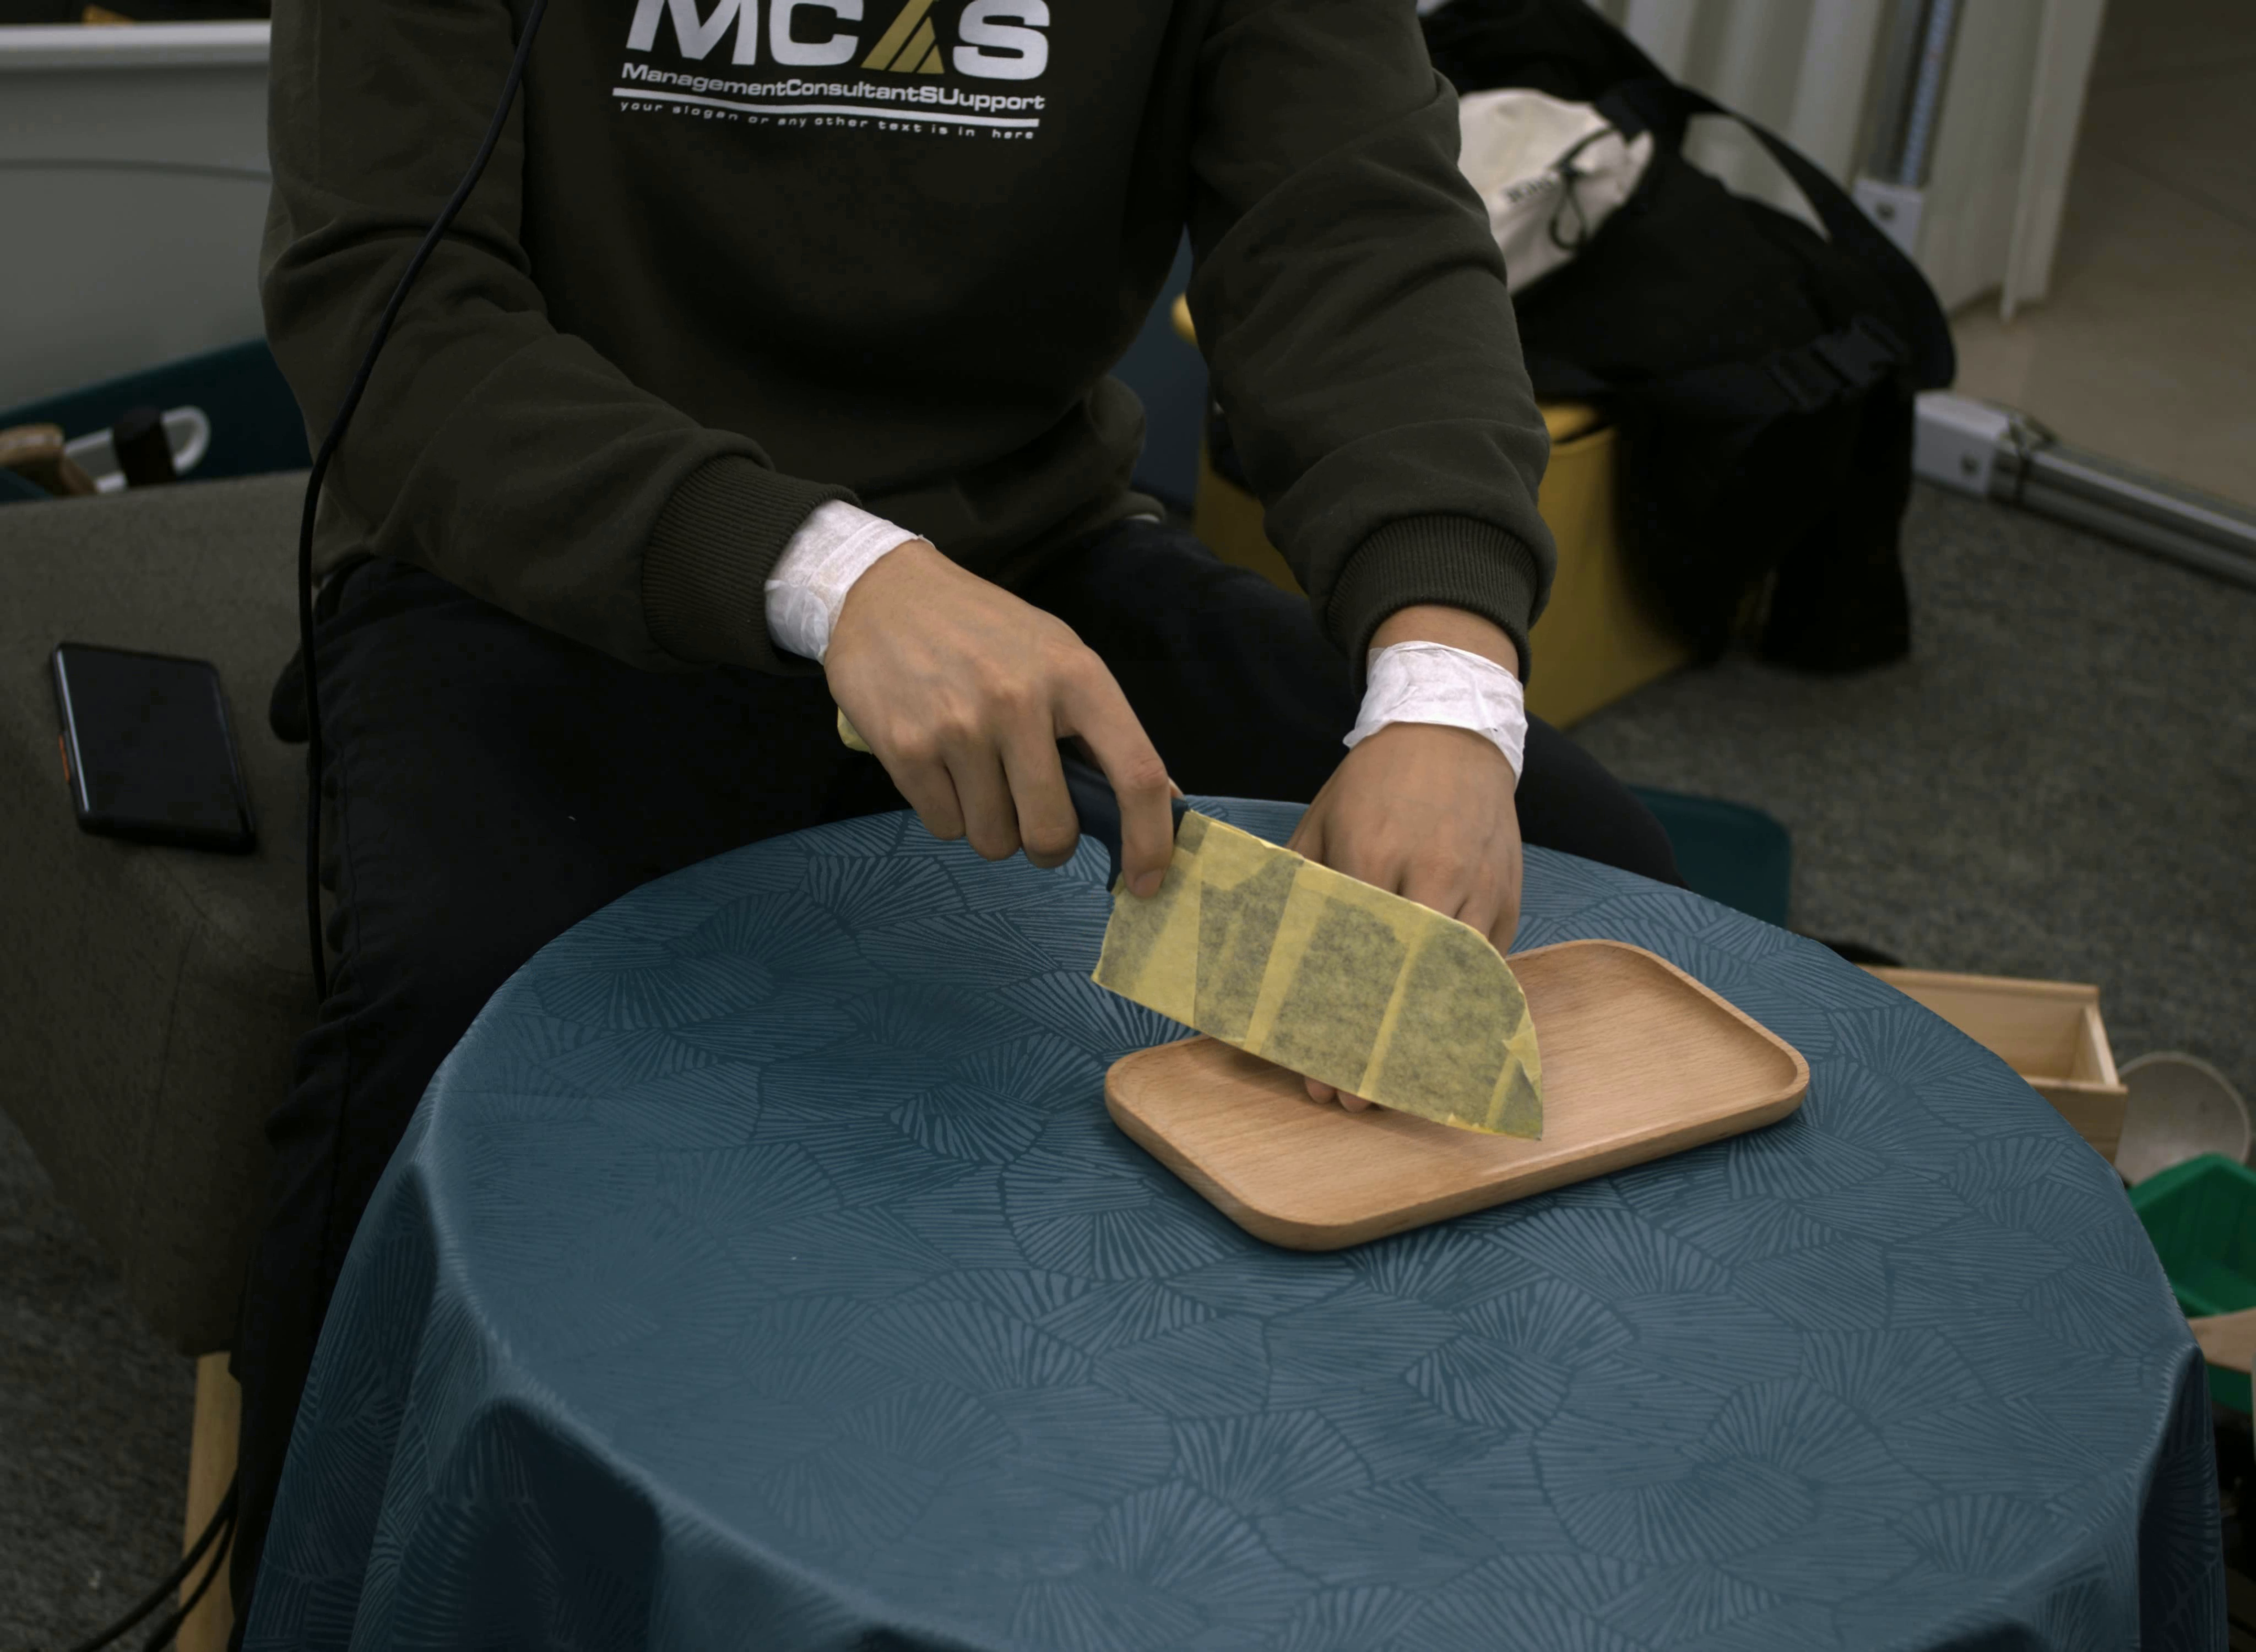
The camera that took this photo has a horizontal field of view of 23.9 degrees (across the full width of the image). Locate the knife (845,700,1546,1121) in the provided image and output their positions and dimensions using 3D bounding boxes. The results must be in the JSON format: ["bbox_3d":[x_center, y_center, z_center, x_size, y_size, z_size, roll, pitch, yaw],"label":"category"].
[{"bbox_3d":[0.020,0.028,1.866,0.291,0.081,0.027,26,13,21],"label":"knife"}]

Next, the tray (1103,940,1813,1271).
[{"bbox_3d":[0.118,0.097,1.874,0.249,0.023,0.131,-15,31,-32],"label":"tray"}]
